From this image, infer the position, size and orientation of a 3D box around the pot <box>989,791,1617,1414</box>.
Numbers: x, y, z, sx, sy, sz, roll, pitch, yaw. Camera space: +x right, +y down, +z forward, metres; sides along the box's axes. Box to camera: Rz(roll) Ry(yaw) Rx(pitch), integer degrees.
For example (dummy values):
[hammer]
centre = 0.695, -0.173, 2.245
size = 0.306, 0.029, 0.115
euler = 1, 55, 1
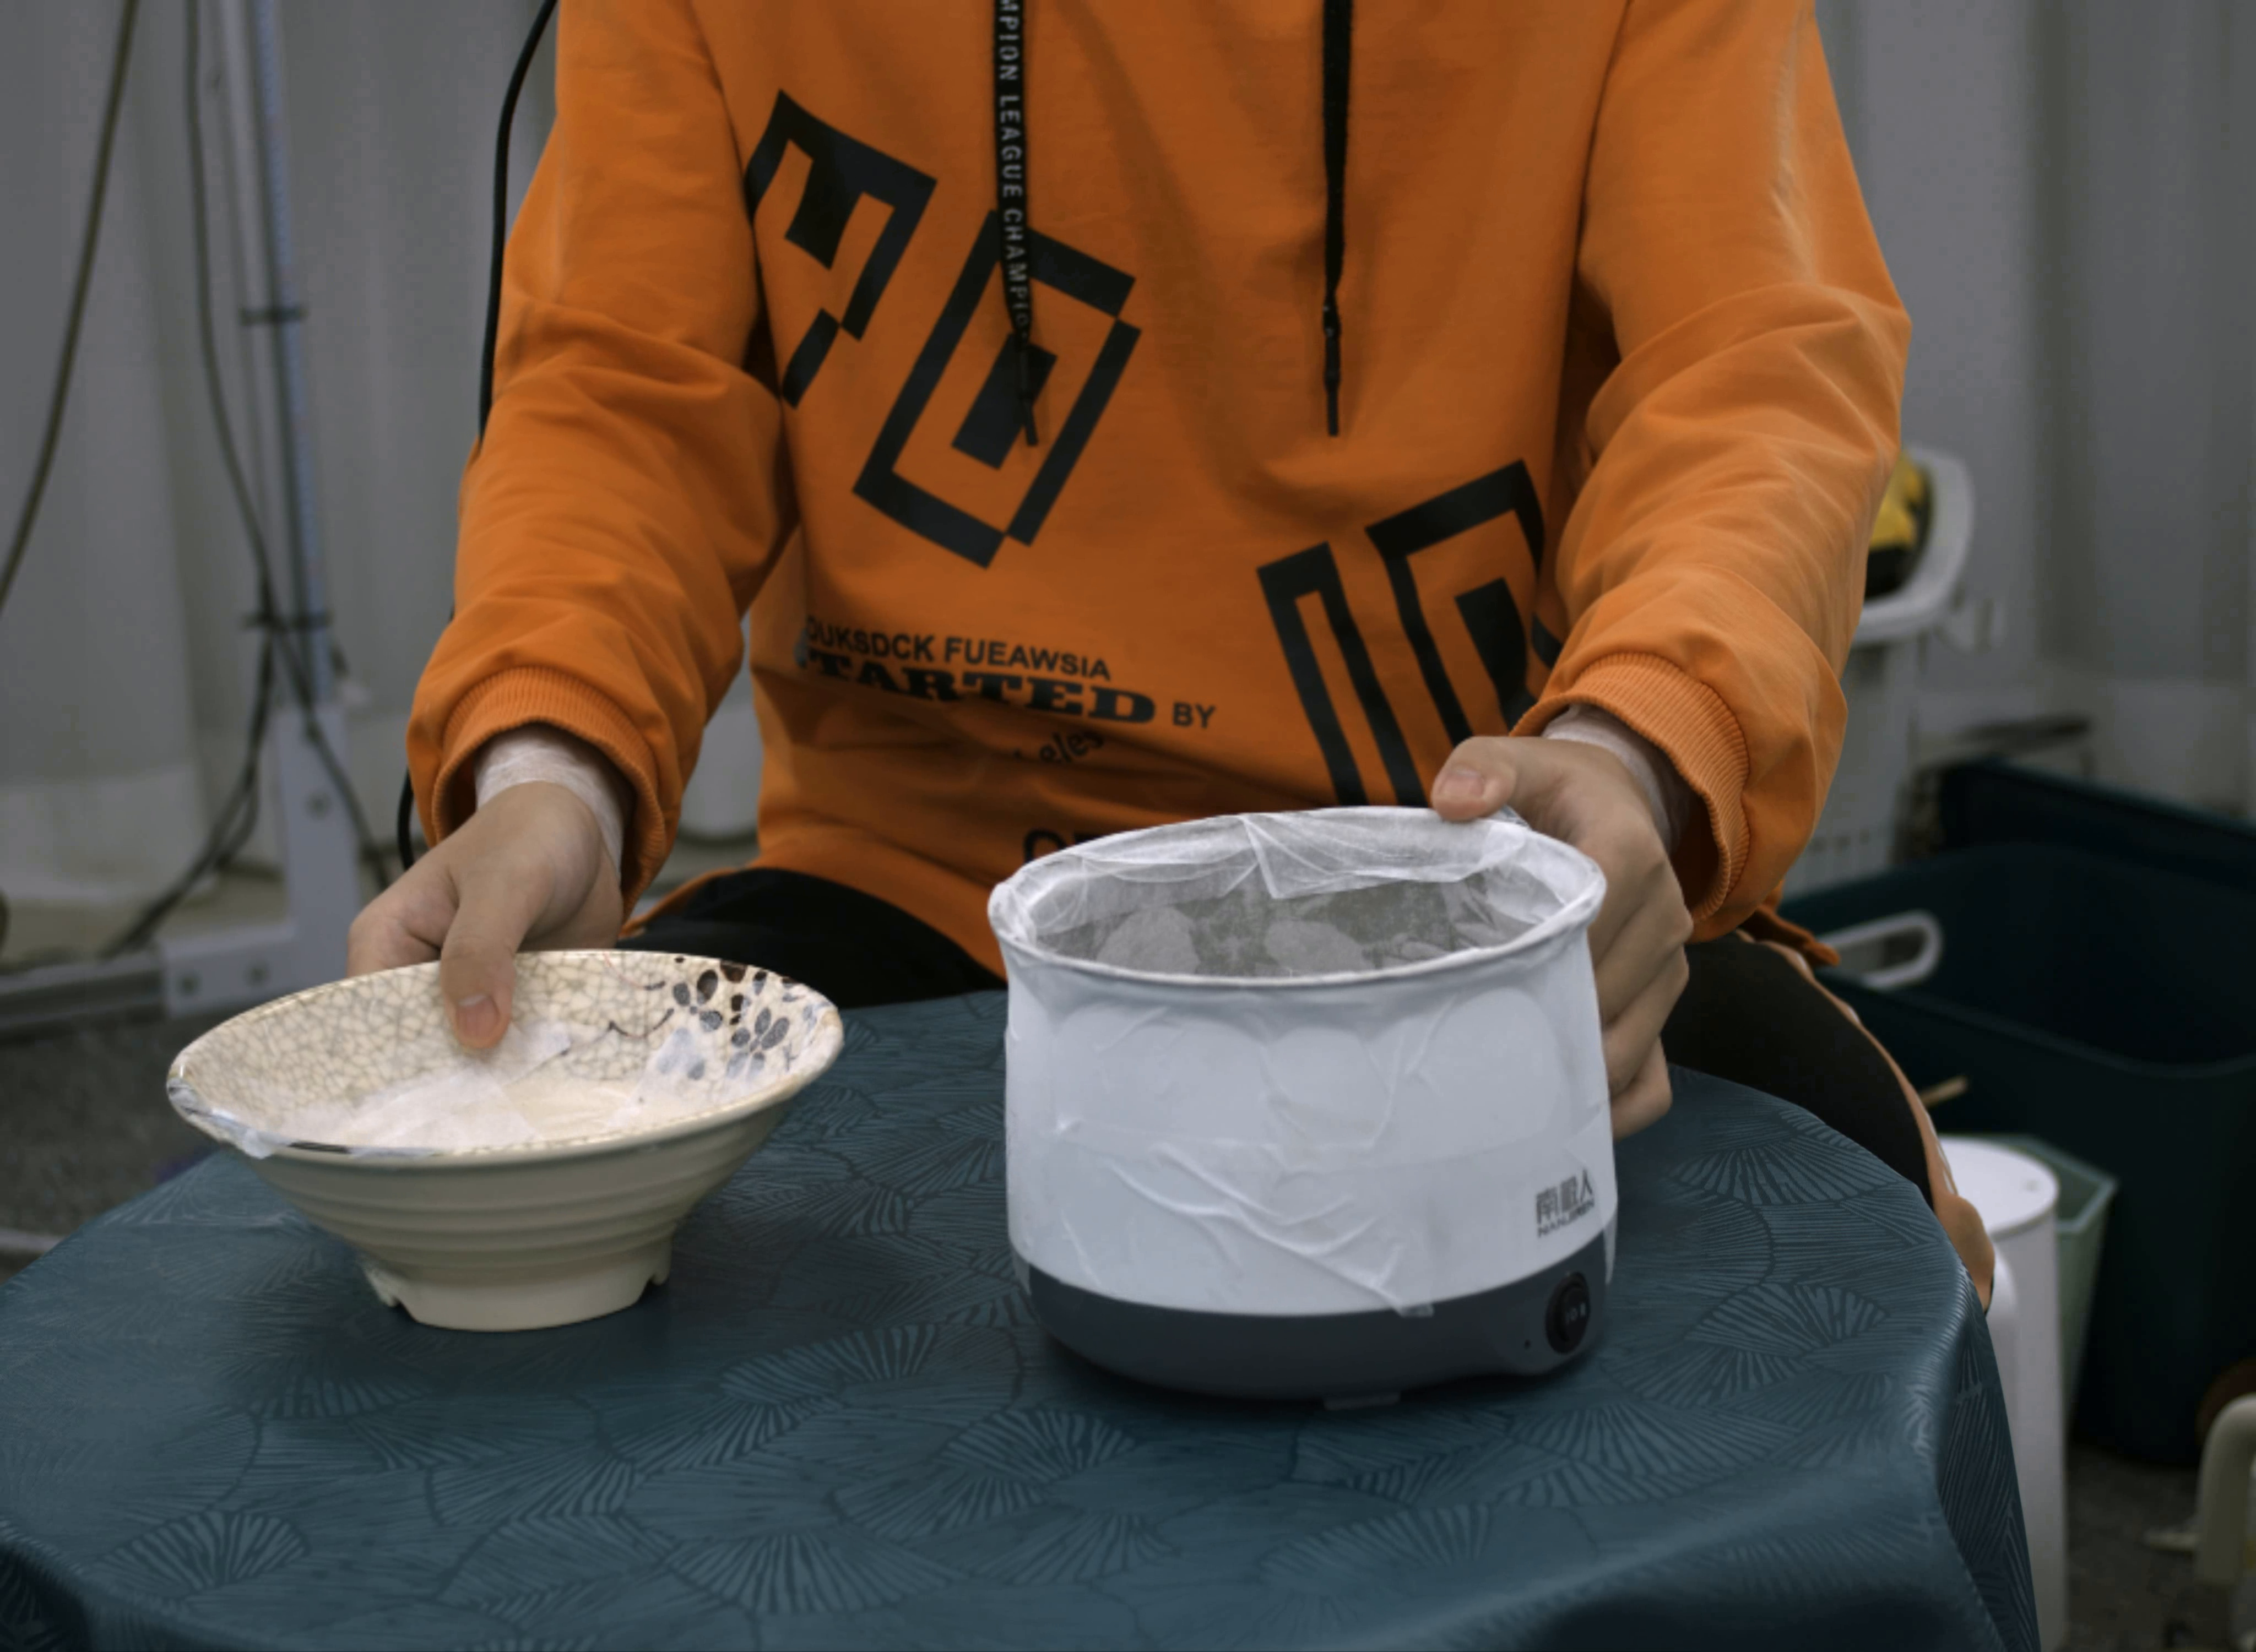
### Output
[pot]
centre = 0.067, 0.073, 1.594
size = 0.179, 0.136, 0.234
euler = 8, 18, 34

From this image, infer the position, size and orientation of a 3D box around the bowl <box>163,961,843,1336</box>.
[bowl]
centre = -0.185, 0.104, 1.650
size = 0.203, 0.078, 0.205
euler = -3, 13, 0
